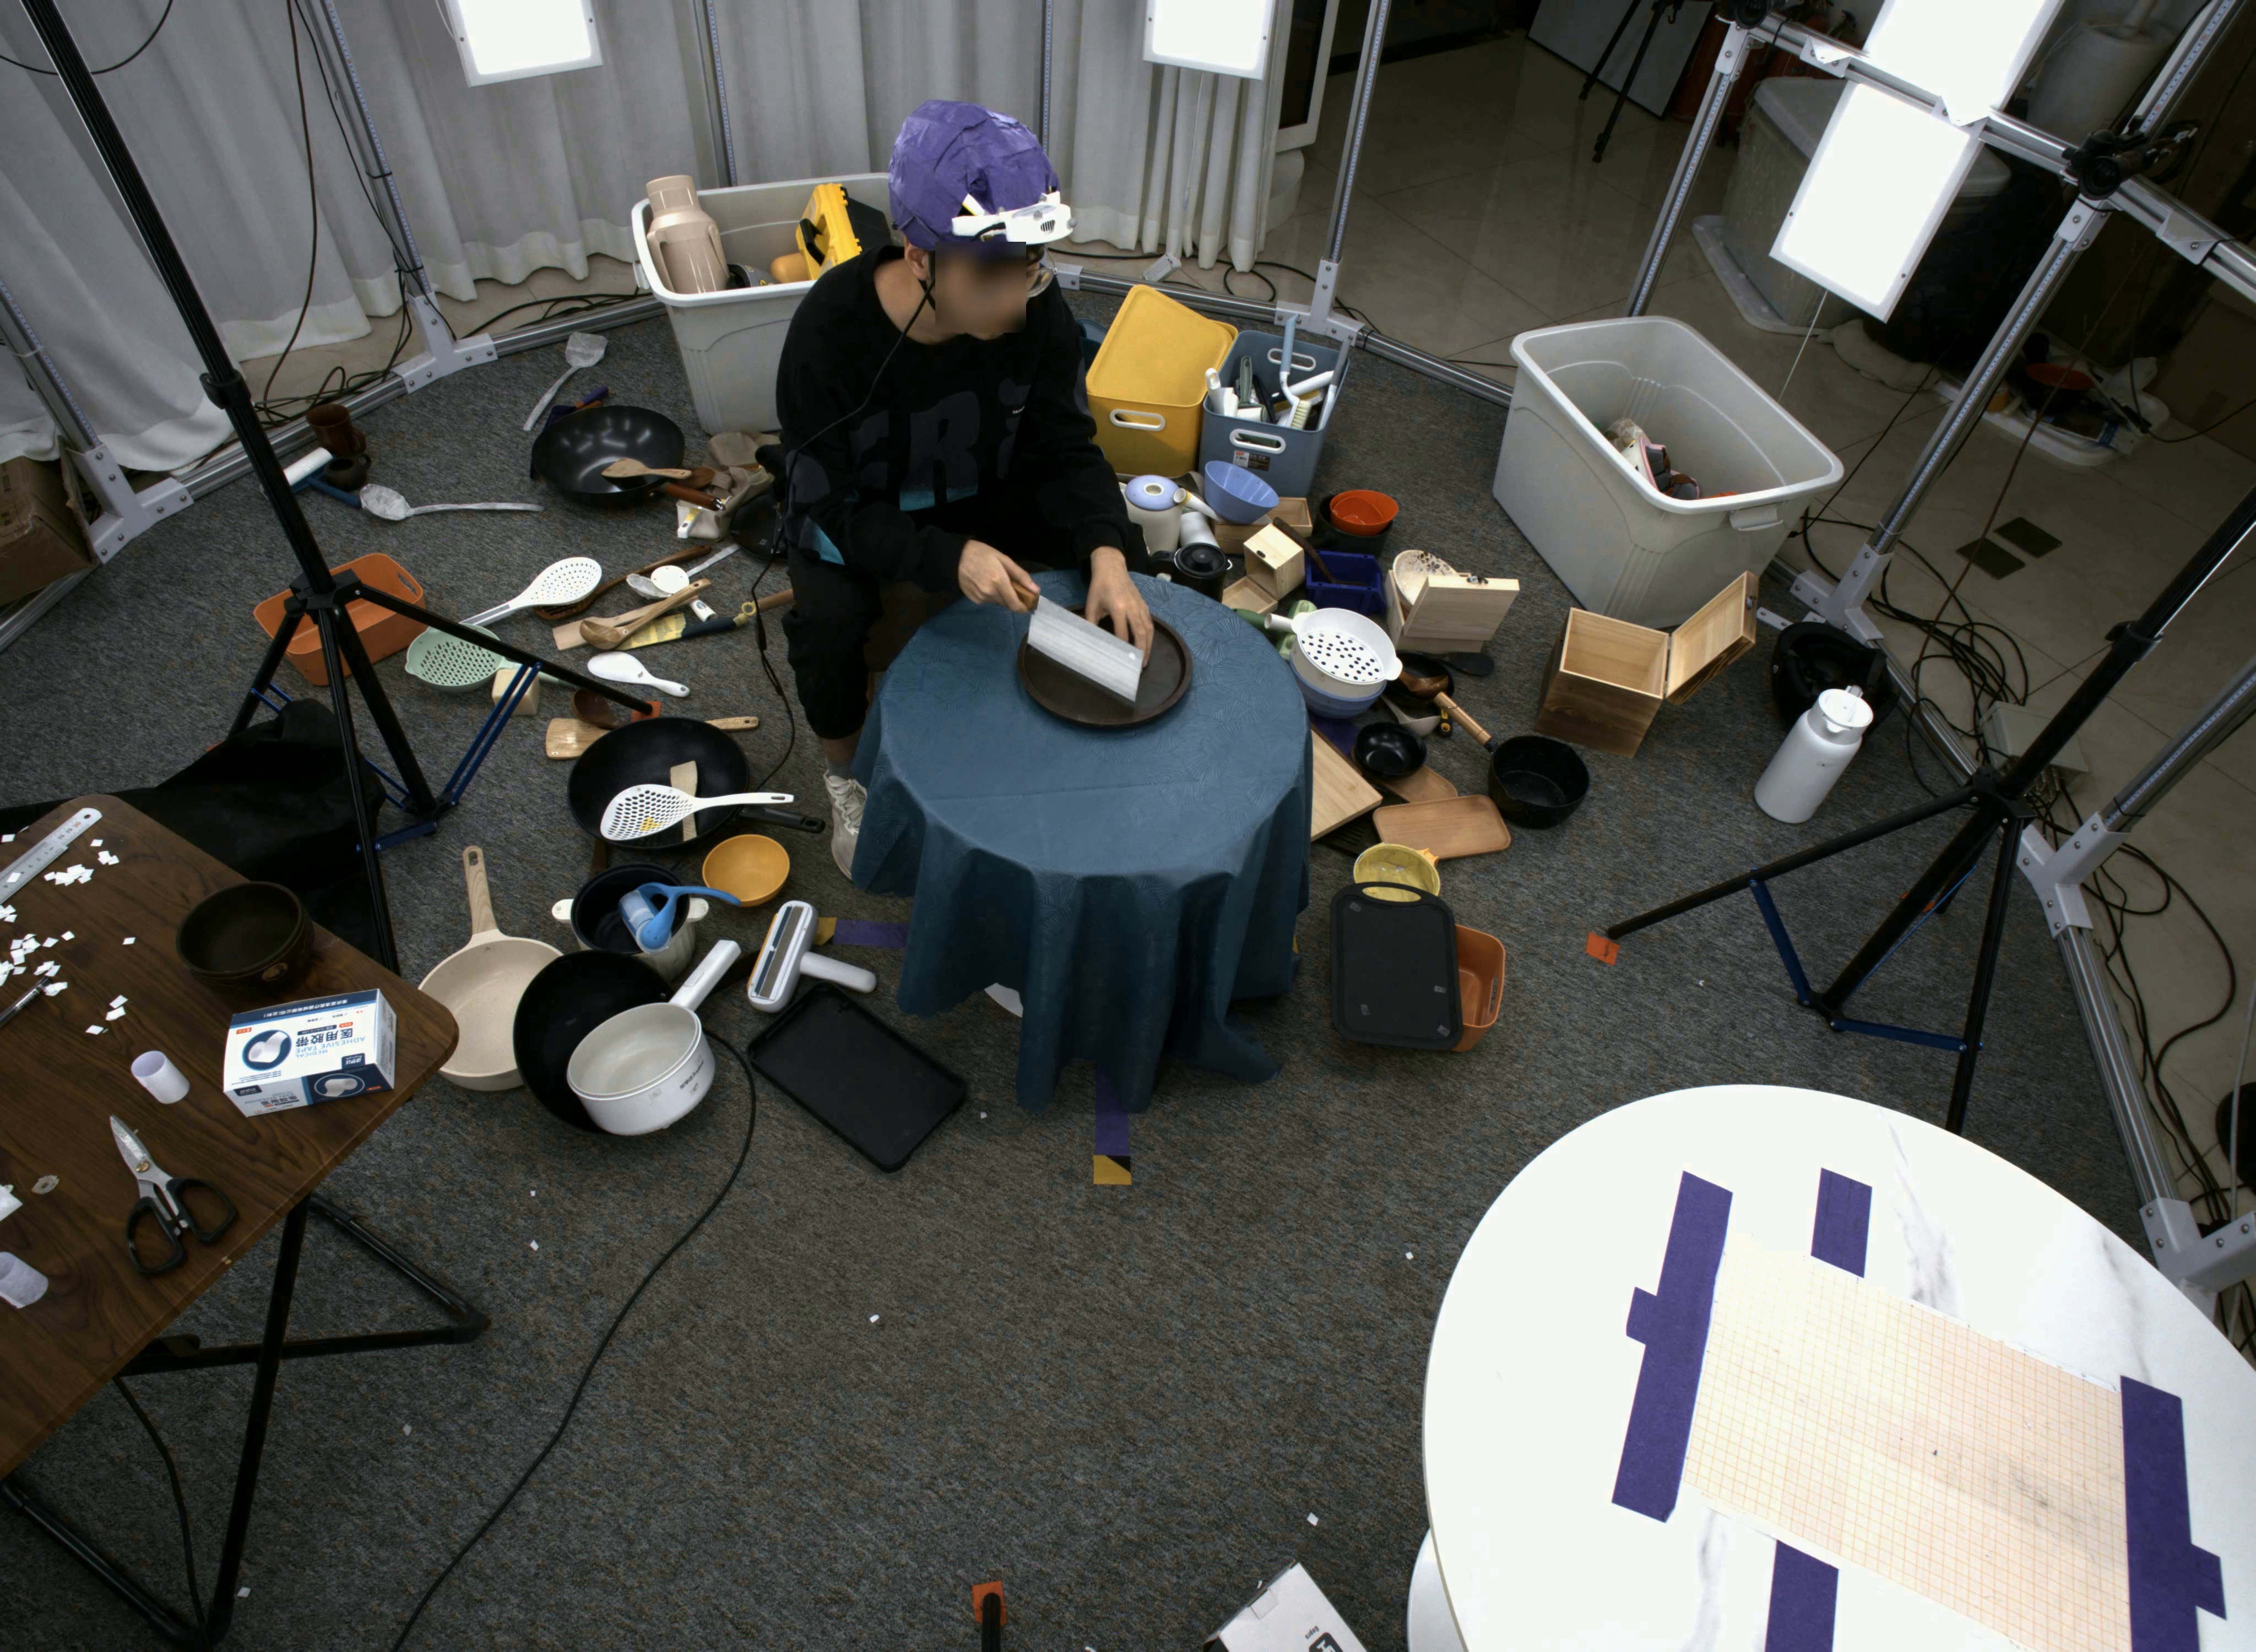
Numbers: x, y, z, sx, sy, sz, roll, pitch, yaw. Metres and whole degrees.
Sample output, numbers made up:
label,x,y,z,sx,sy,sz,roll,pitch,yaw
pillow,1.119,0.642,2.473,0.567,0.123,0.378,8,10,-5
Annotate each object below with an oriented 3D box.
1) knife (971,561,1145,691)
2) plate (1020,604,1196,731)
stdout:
label,x,y,z,sx,sy,sz,roll,pitch,yaw
knife,-0.103,-0.279,1.819,0.309,0.091,0.021,31,47,21
plate,-0.029,-0.230,1.850,0.254,0.028,0.261,1,51,-2
